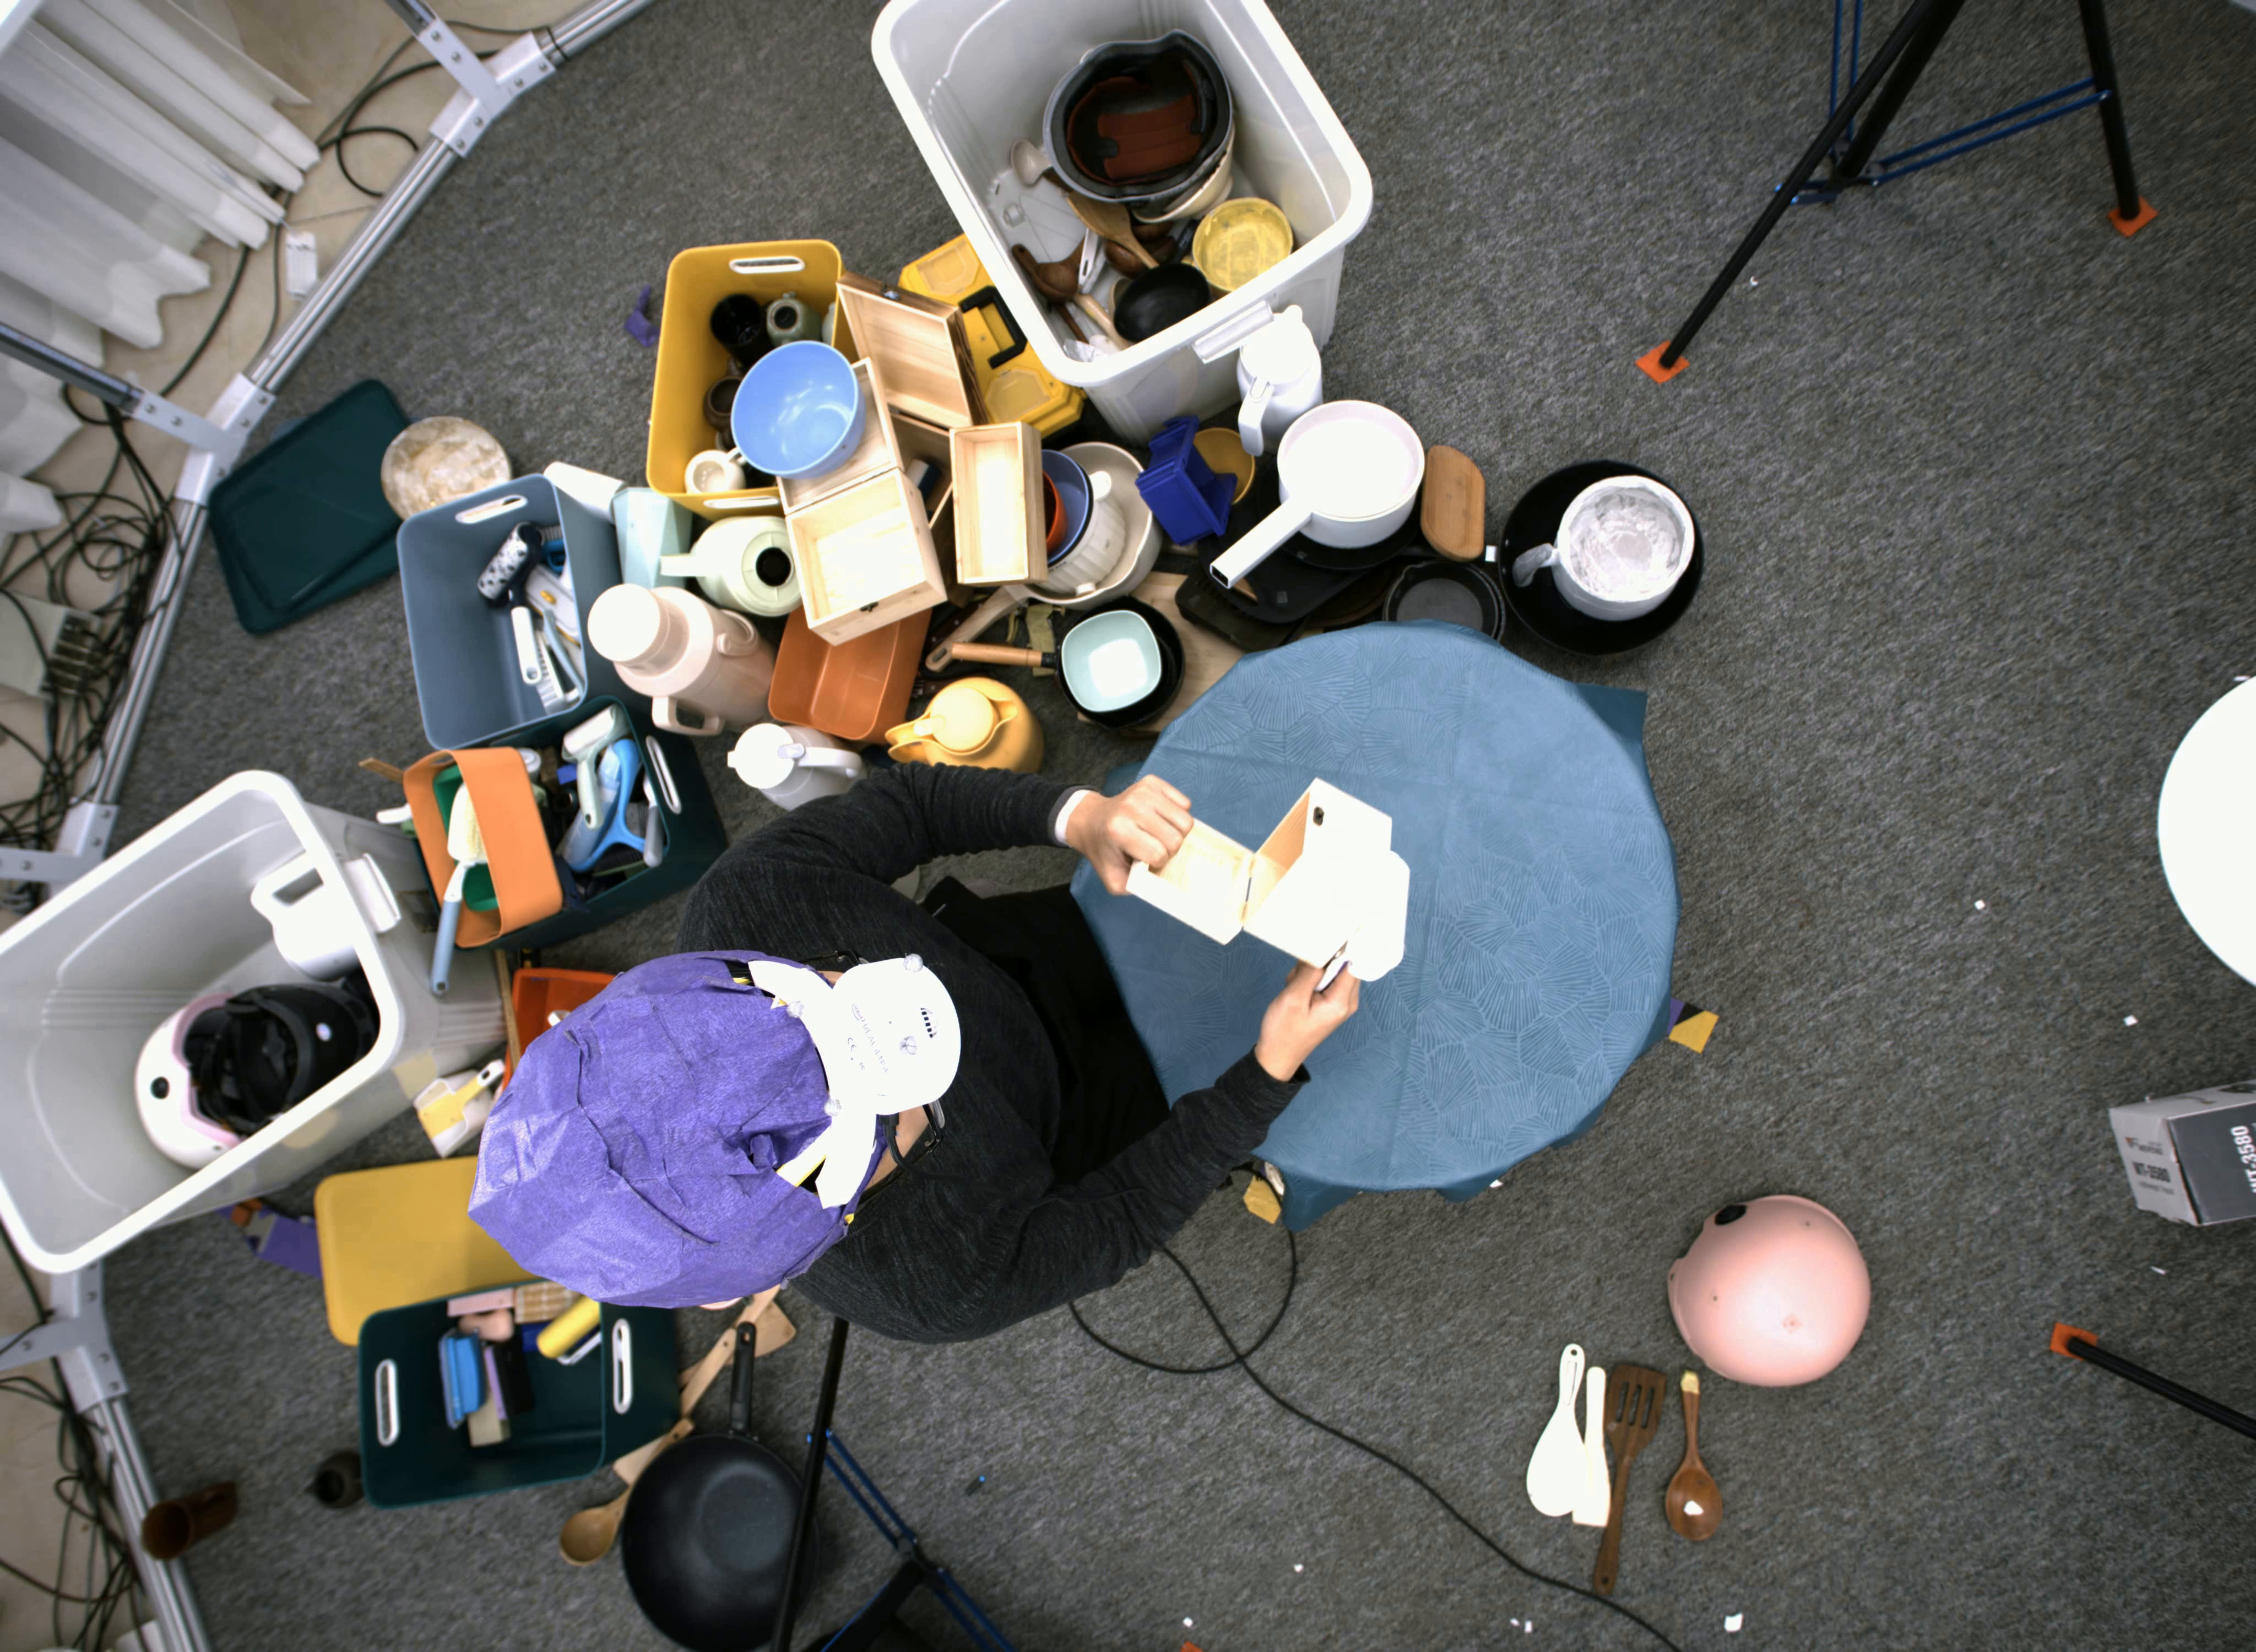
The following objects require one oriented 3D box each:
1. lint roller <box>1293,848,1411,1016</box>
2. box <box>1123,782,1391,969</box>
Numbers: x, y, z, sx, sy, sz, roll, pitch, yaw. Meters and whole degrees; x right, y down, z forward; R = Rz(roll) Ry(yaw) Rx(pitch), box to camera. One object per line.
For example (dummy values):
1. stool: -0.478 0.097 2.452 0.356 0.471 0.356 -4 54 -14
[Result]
1. lint roller: 0.196 0.116 1.220 0.050 0.129 0.185 18 133 -2
2. box: 0.110 0.023 1.167 0.185 0.100 0.137 28 130 -10
